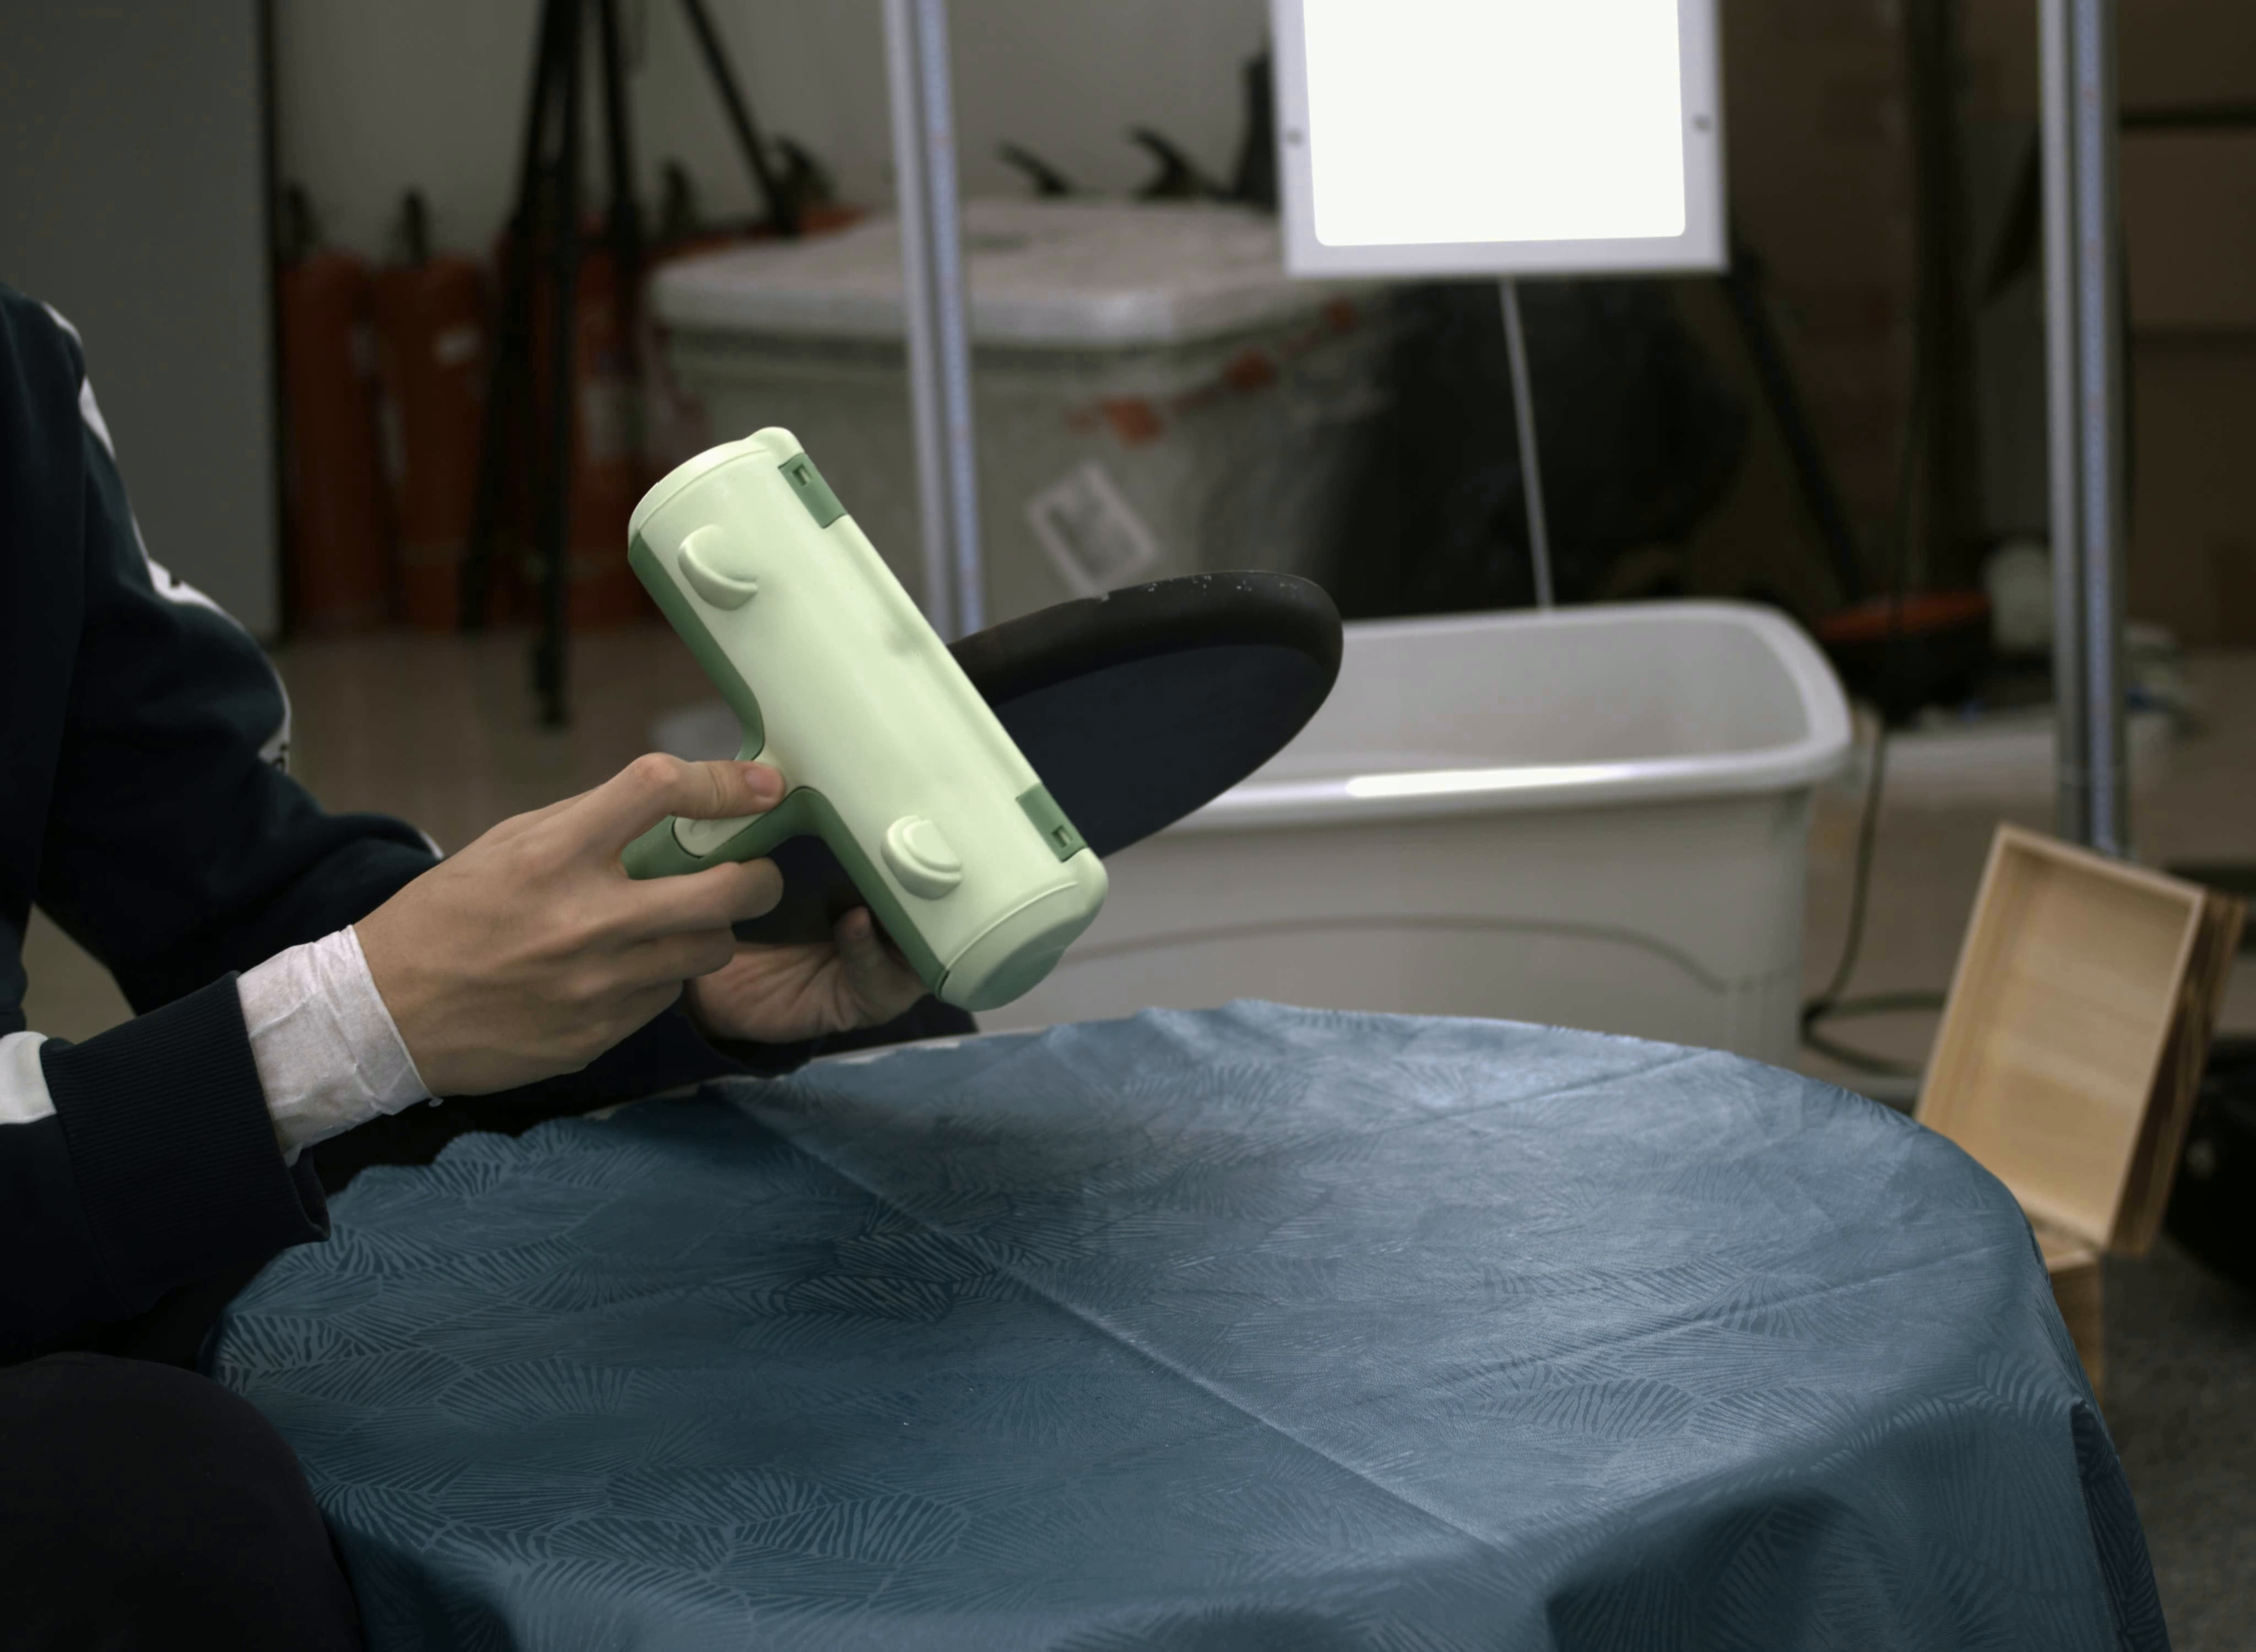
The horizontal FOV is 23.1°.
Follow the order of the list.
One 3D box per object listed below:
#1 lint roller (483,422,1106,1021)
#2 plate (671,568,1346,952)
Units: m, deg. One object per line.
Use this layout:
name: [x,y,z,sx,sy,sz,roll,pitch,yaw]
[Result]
lint roller: [-0.132,-0.003,1.717,0.183,0.200,0.082,-36,-17,0]
plate: [-0.041,-0.018,1.869,0.253,0.029,0.255,-19,-15,-7]
